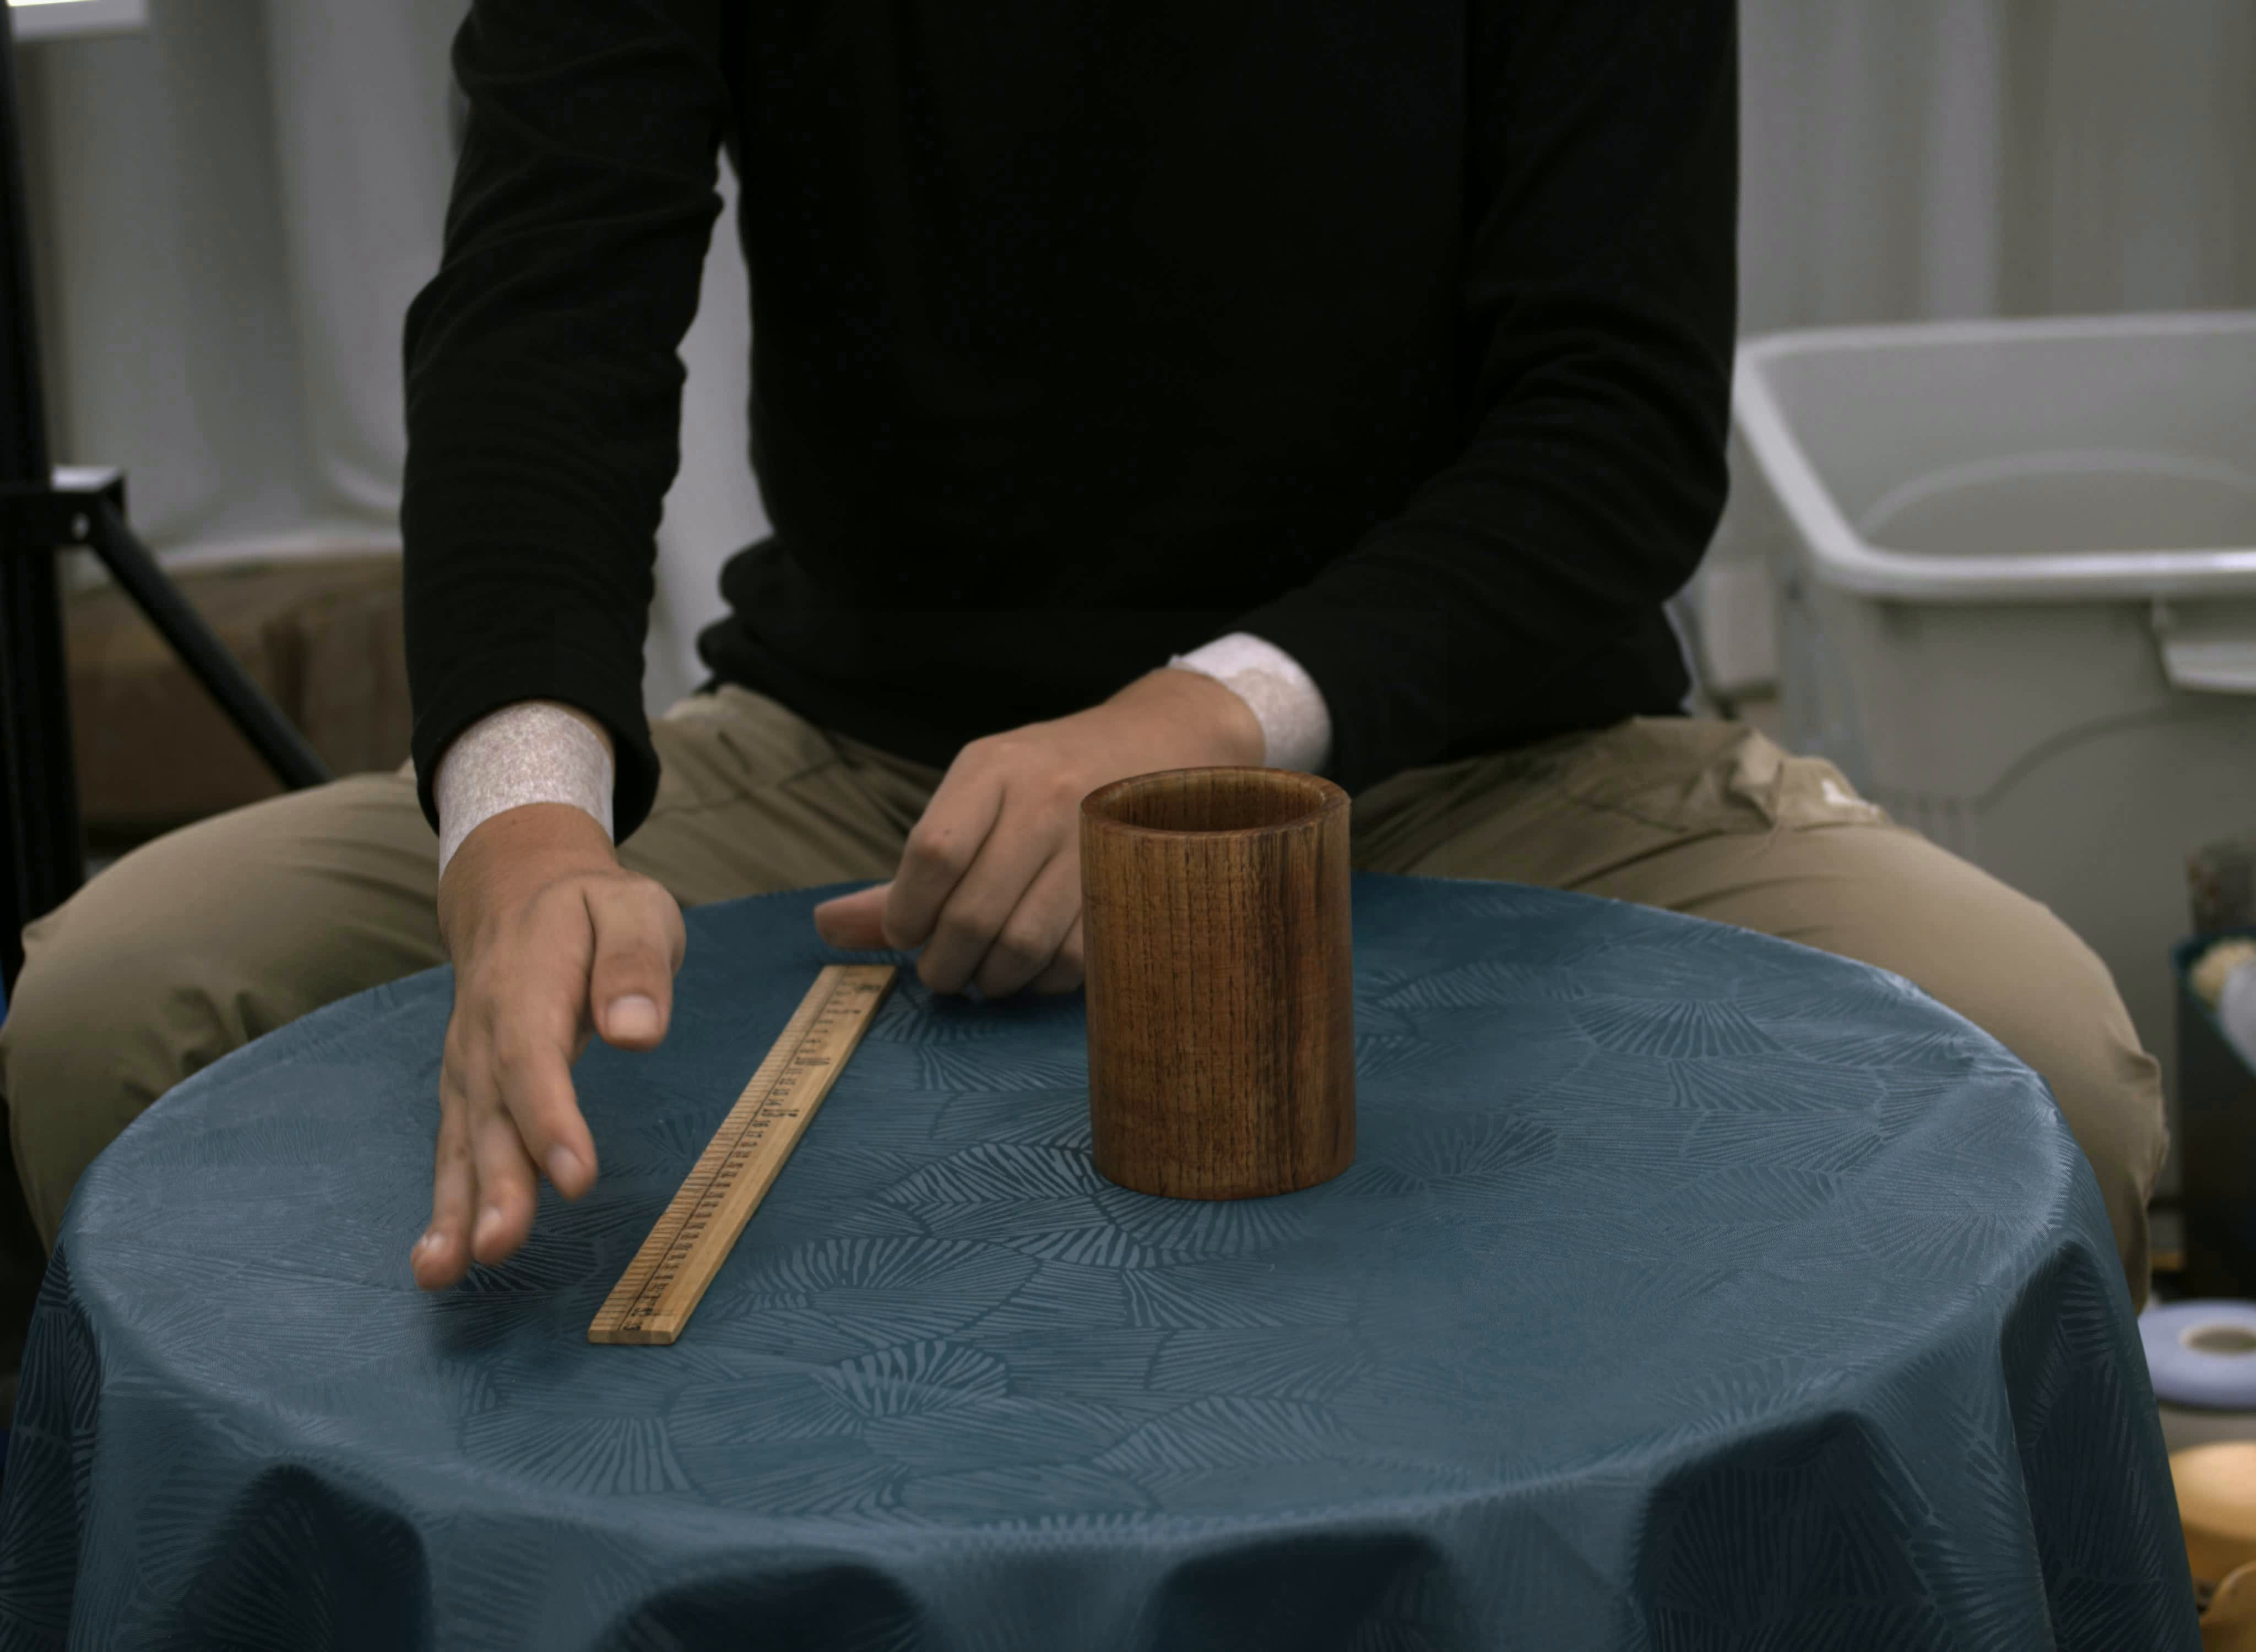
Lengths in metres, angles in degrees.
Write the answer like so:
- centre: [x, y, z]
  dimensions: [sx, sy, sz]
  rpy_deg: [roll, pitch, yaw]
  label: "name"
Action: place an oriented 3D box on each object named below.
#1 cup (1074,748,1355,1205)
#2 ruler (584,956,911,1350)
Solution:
- centre: [0.026, 0.044, 1.568]
  dimensions: [0.087, 0.118, 0.088]
  rpy_deg: [-1, 15, -1]
  label: "cup"
- centre: [-0.111, 0.092, 1.616]
  dimensions: [0.027, 0.022, 0.330]
  rpy_deg: [7, 17, 8]
  label: "ruler"
